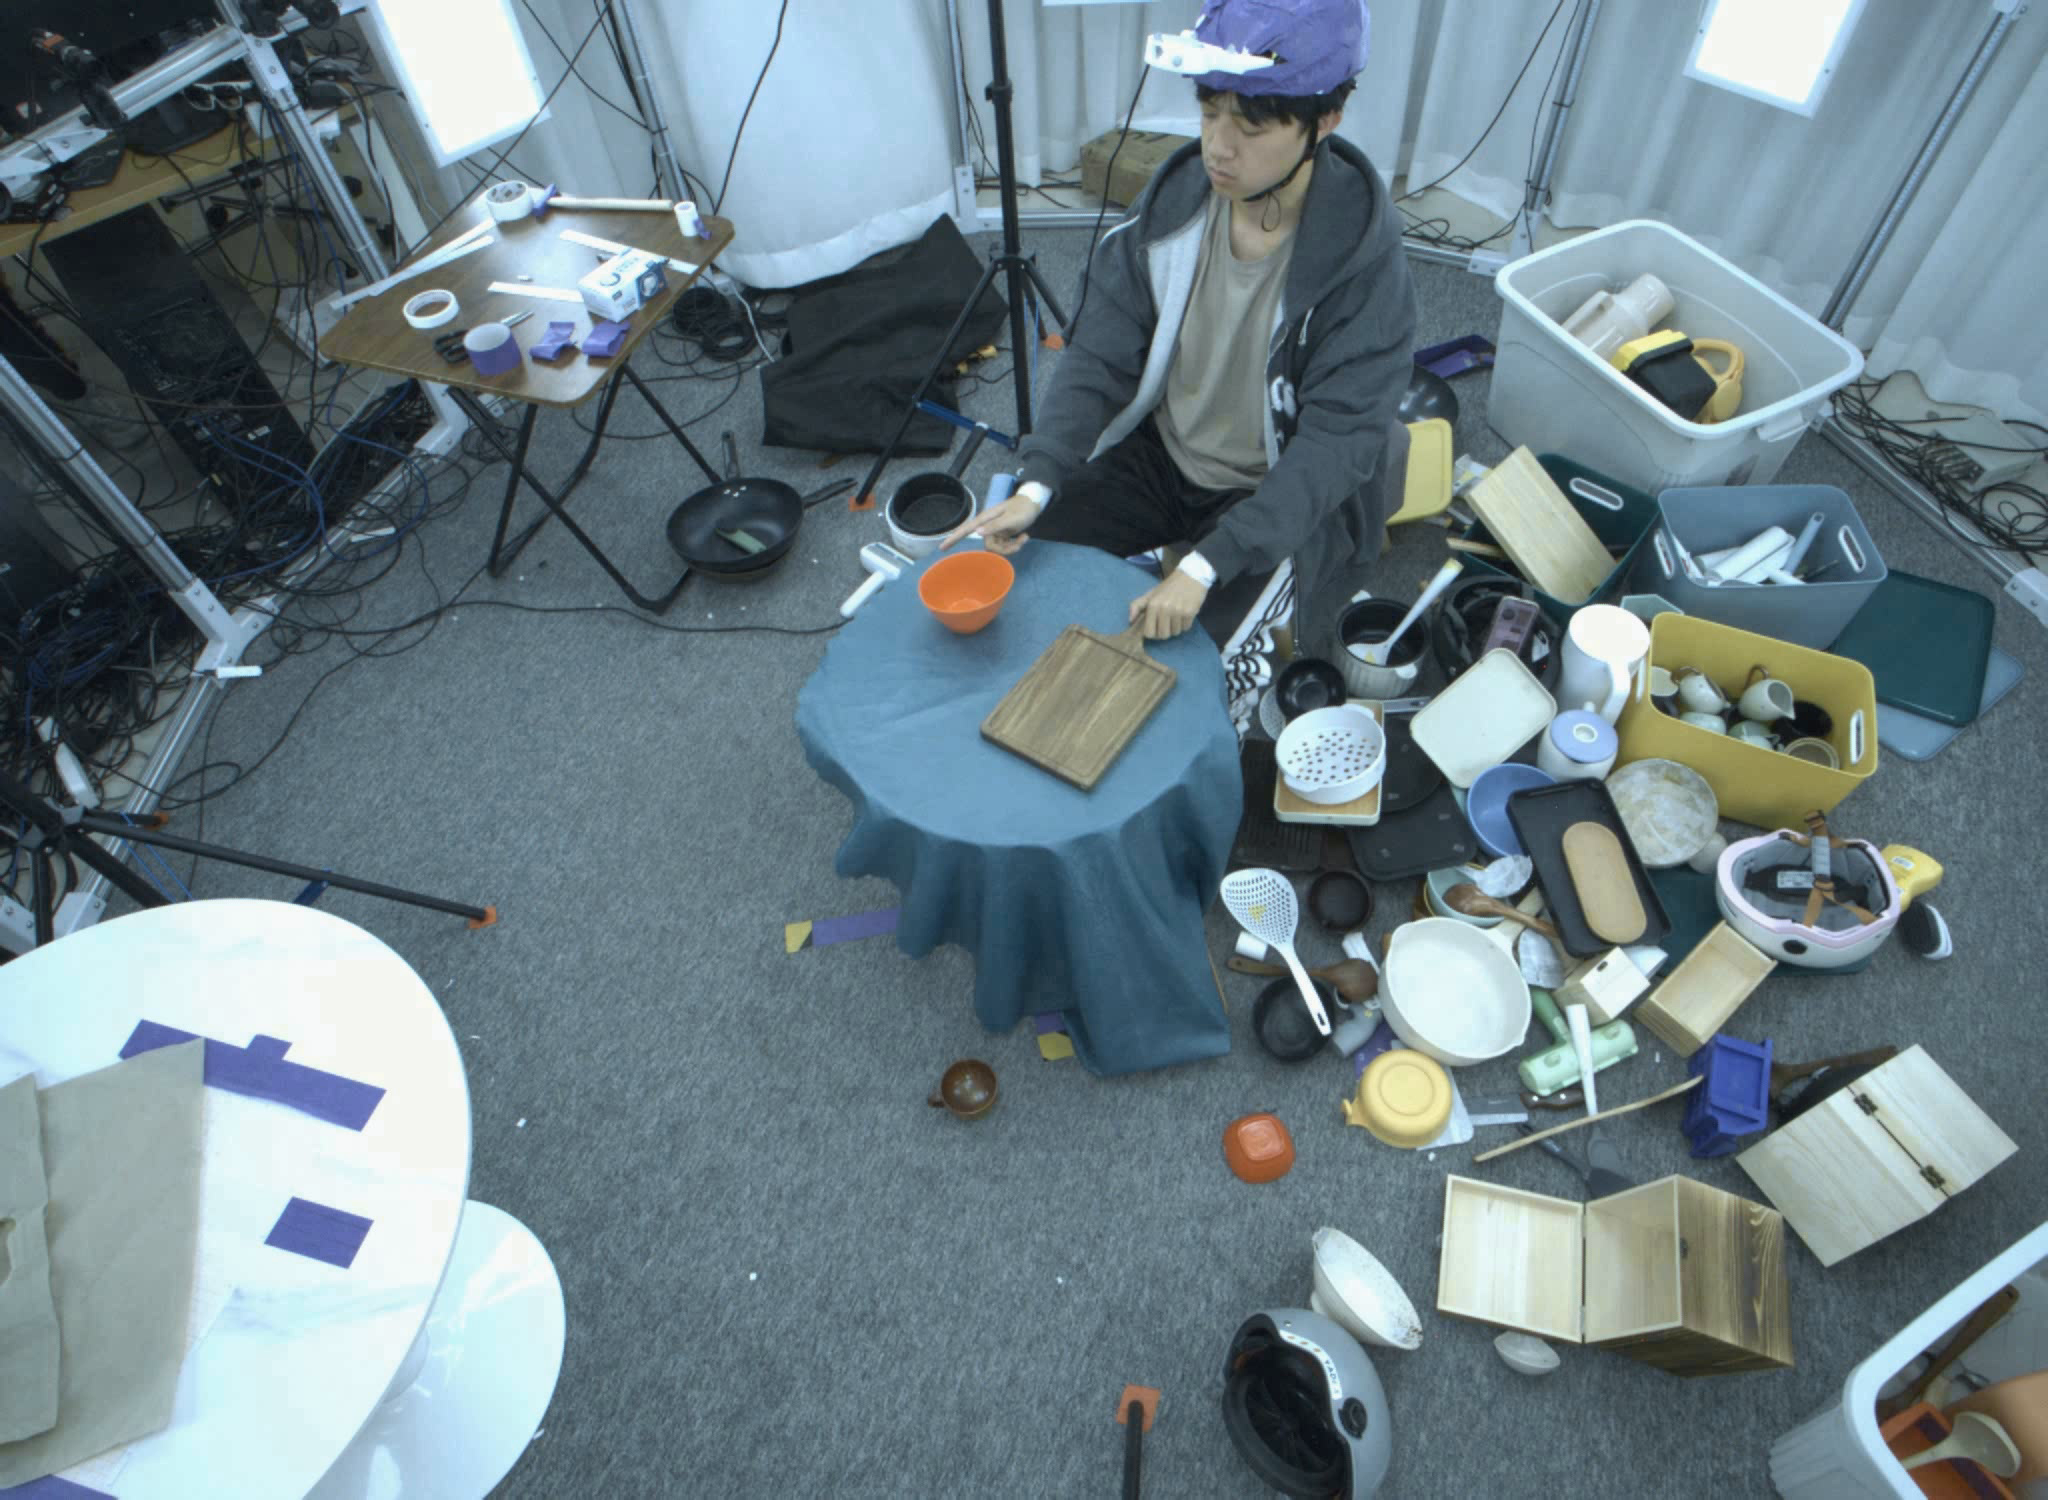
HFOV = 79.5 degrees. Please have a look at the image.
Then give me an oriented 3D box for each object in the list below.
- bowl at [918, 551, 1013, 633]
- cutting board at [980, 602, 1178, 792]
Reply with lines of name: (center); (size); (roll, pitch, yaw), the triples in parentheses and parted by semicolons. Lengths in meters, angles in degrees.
bowl: (-0.088, -0.232, 1.895); (0.148, 0.106, 0.146); (-1, 55, 3)
cutting board: (0.111, -0.103, 1.847); (0.198, 0.023, 0.353); (28, 60, 20)
